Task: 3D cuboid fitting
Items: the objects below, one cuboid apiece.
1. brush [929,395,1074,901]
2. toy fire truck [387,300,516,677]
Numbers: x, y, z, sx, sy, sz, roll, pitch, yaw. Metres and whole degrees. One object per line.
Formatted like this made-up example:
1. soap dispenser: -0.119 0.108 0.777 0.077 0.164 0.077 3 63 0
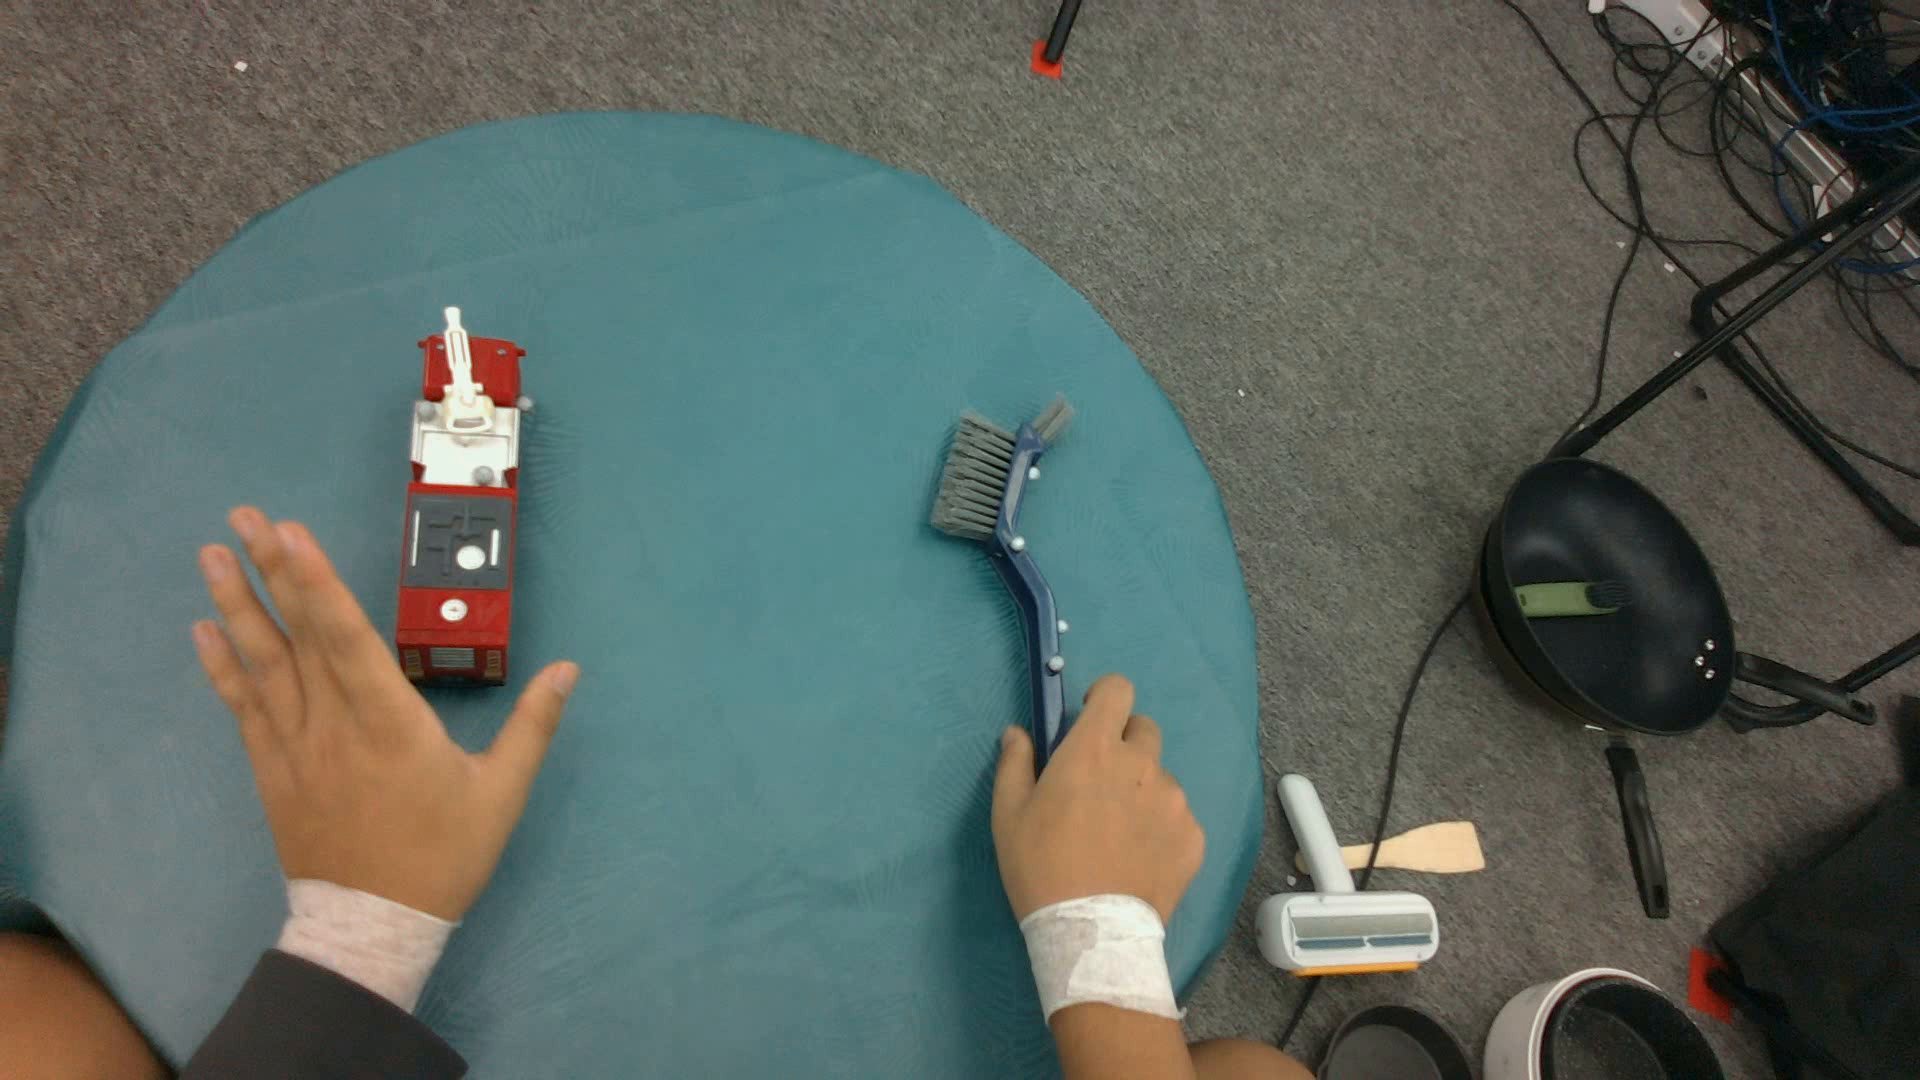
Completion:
1. brush: 0.043 0.045 0.715 0.096 0.033 0.274 -3 66 -21
2. toy fire truck: -0.235 -0.022 0.636 0.054 0.070 0.168 2 66 -19
